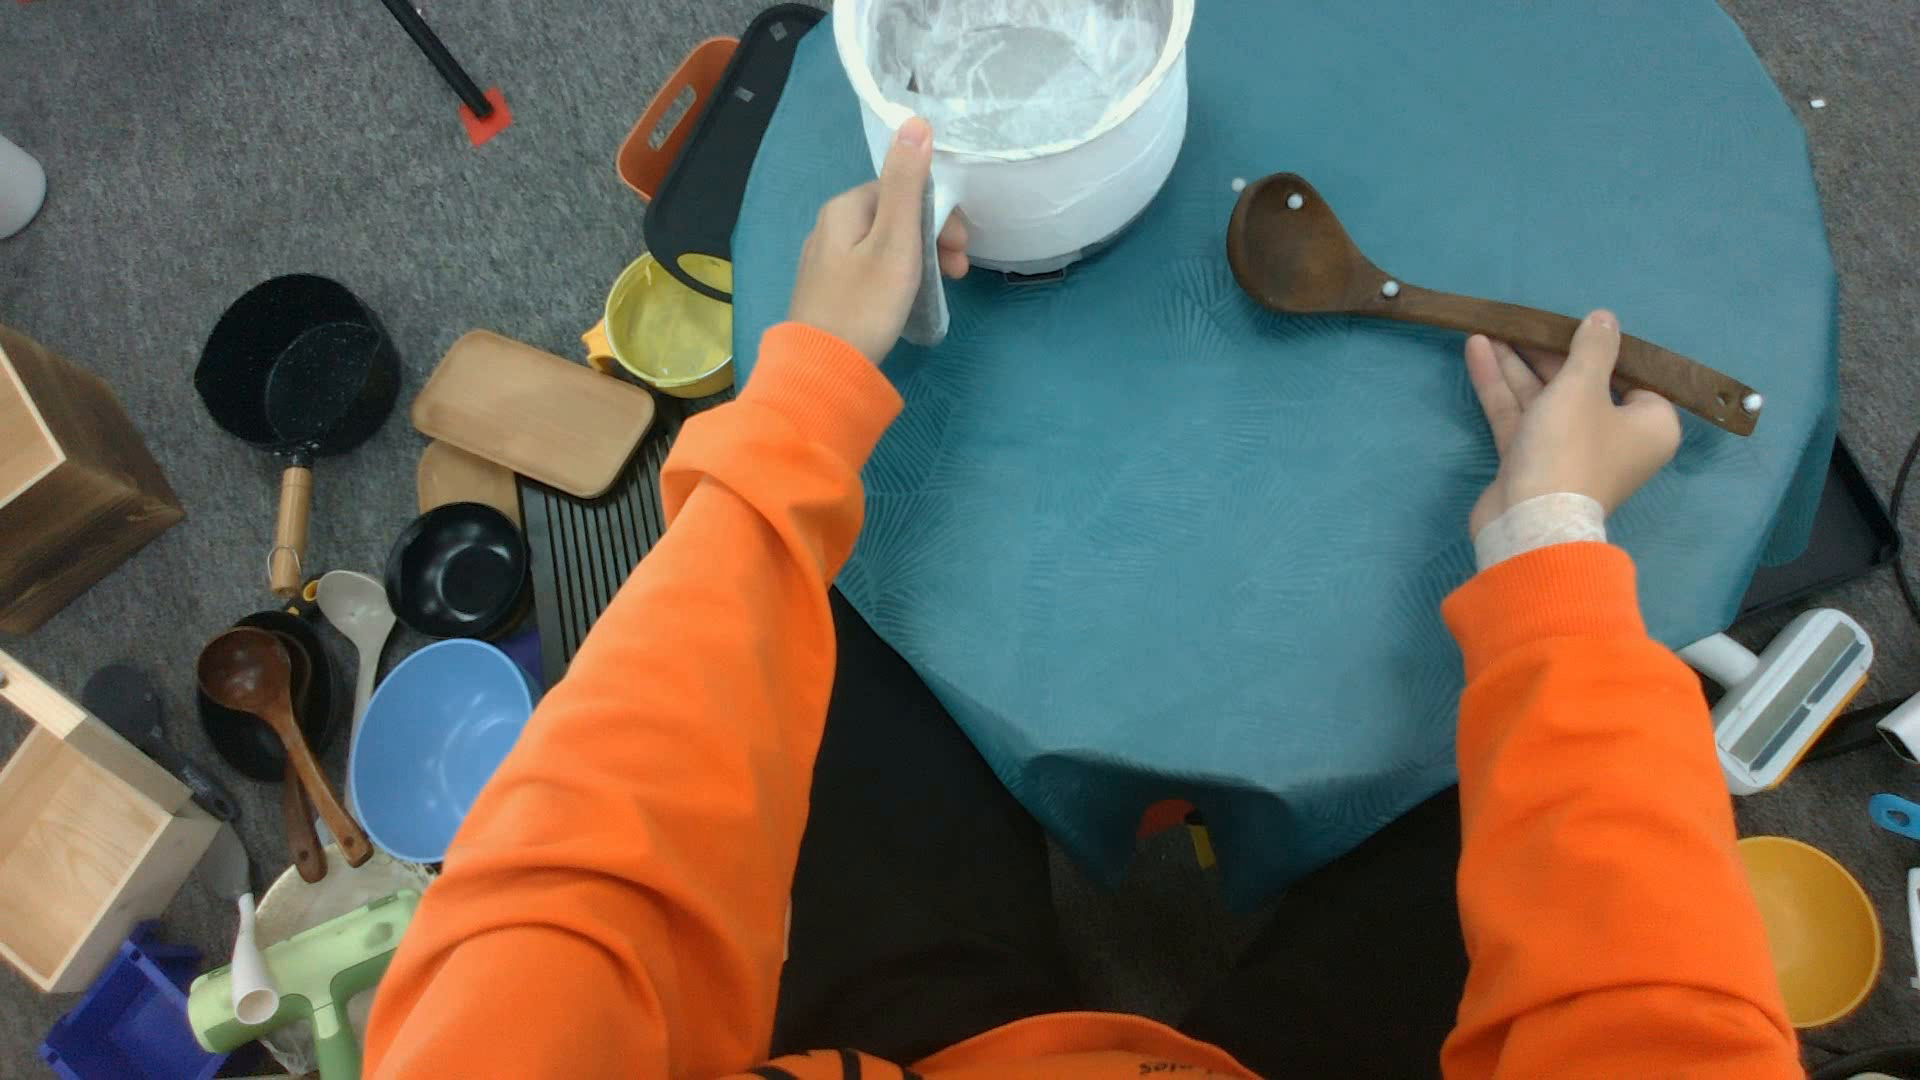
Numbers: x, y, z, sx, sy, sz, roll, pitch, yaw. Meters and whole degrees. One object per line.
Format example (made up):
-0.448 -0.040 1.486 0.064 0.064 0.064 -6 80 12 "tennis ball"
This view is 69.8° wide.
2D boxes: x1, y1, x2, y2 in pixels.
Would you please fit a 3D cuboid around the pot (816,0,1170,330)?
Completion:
0.011 -0.229 0.730 0.178 0.136 0.234 23 77 13 "pot"

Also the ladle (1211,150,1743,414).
0.260 -0.130 0.699 0.274 0.071 0.076 22 76 19 "ladle"
